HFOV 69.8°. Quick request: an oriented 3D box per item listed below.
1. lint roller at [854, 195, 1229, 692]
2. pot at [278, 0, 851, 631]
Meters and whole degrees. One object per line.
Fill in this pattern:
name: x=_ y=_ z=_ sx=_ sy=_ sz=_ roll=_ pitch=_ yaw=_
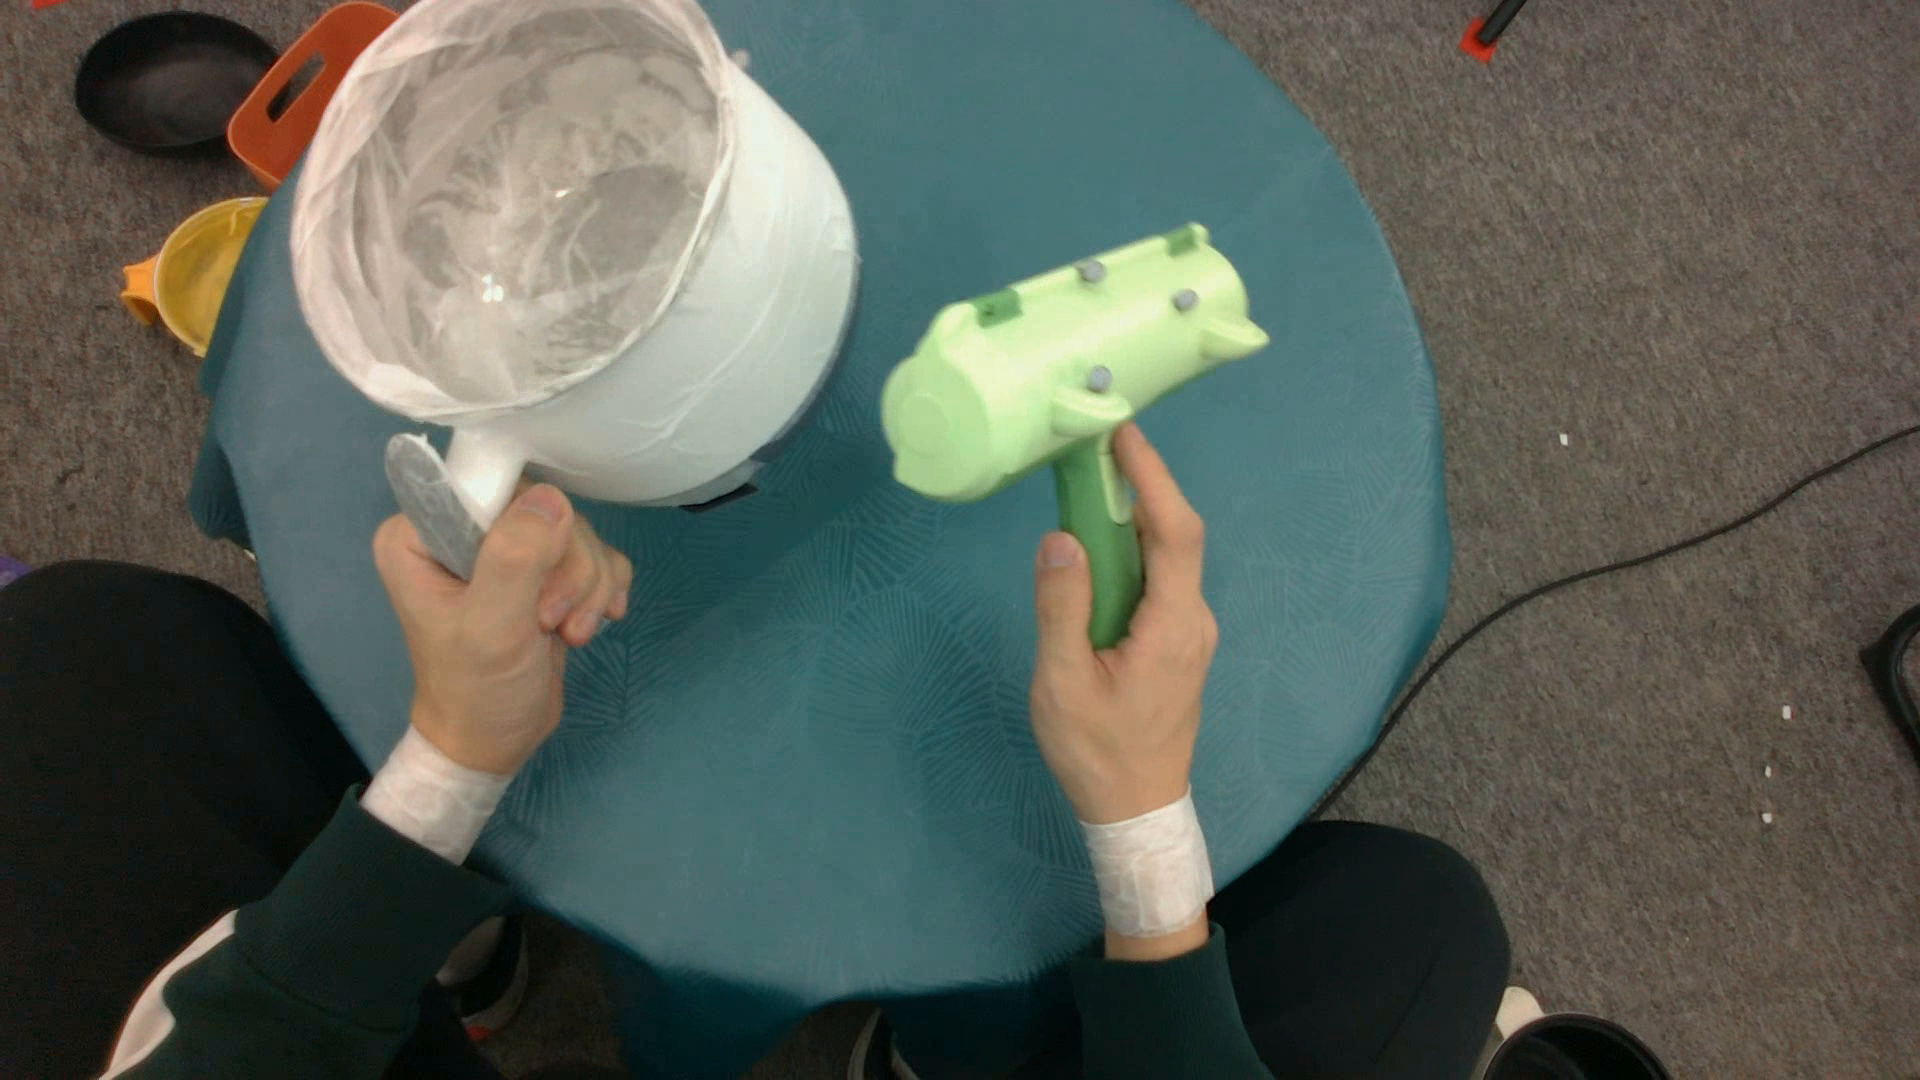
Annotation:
lint roller: x=0.055 y=-0.027 z=0.524 sx=0.199 sy=0.082 sz=0.183 roll=-35 pitch=112 yaw=-52
pot: x=-0.146 y=-0.085 z=0.520 sx=0.178 sy=0.136 sz=0.234 roll=10 pitch=80 yaw=22
